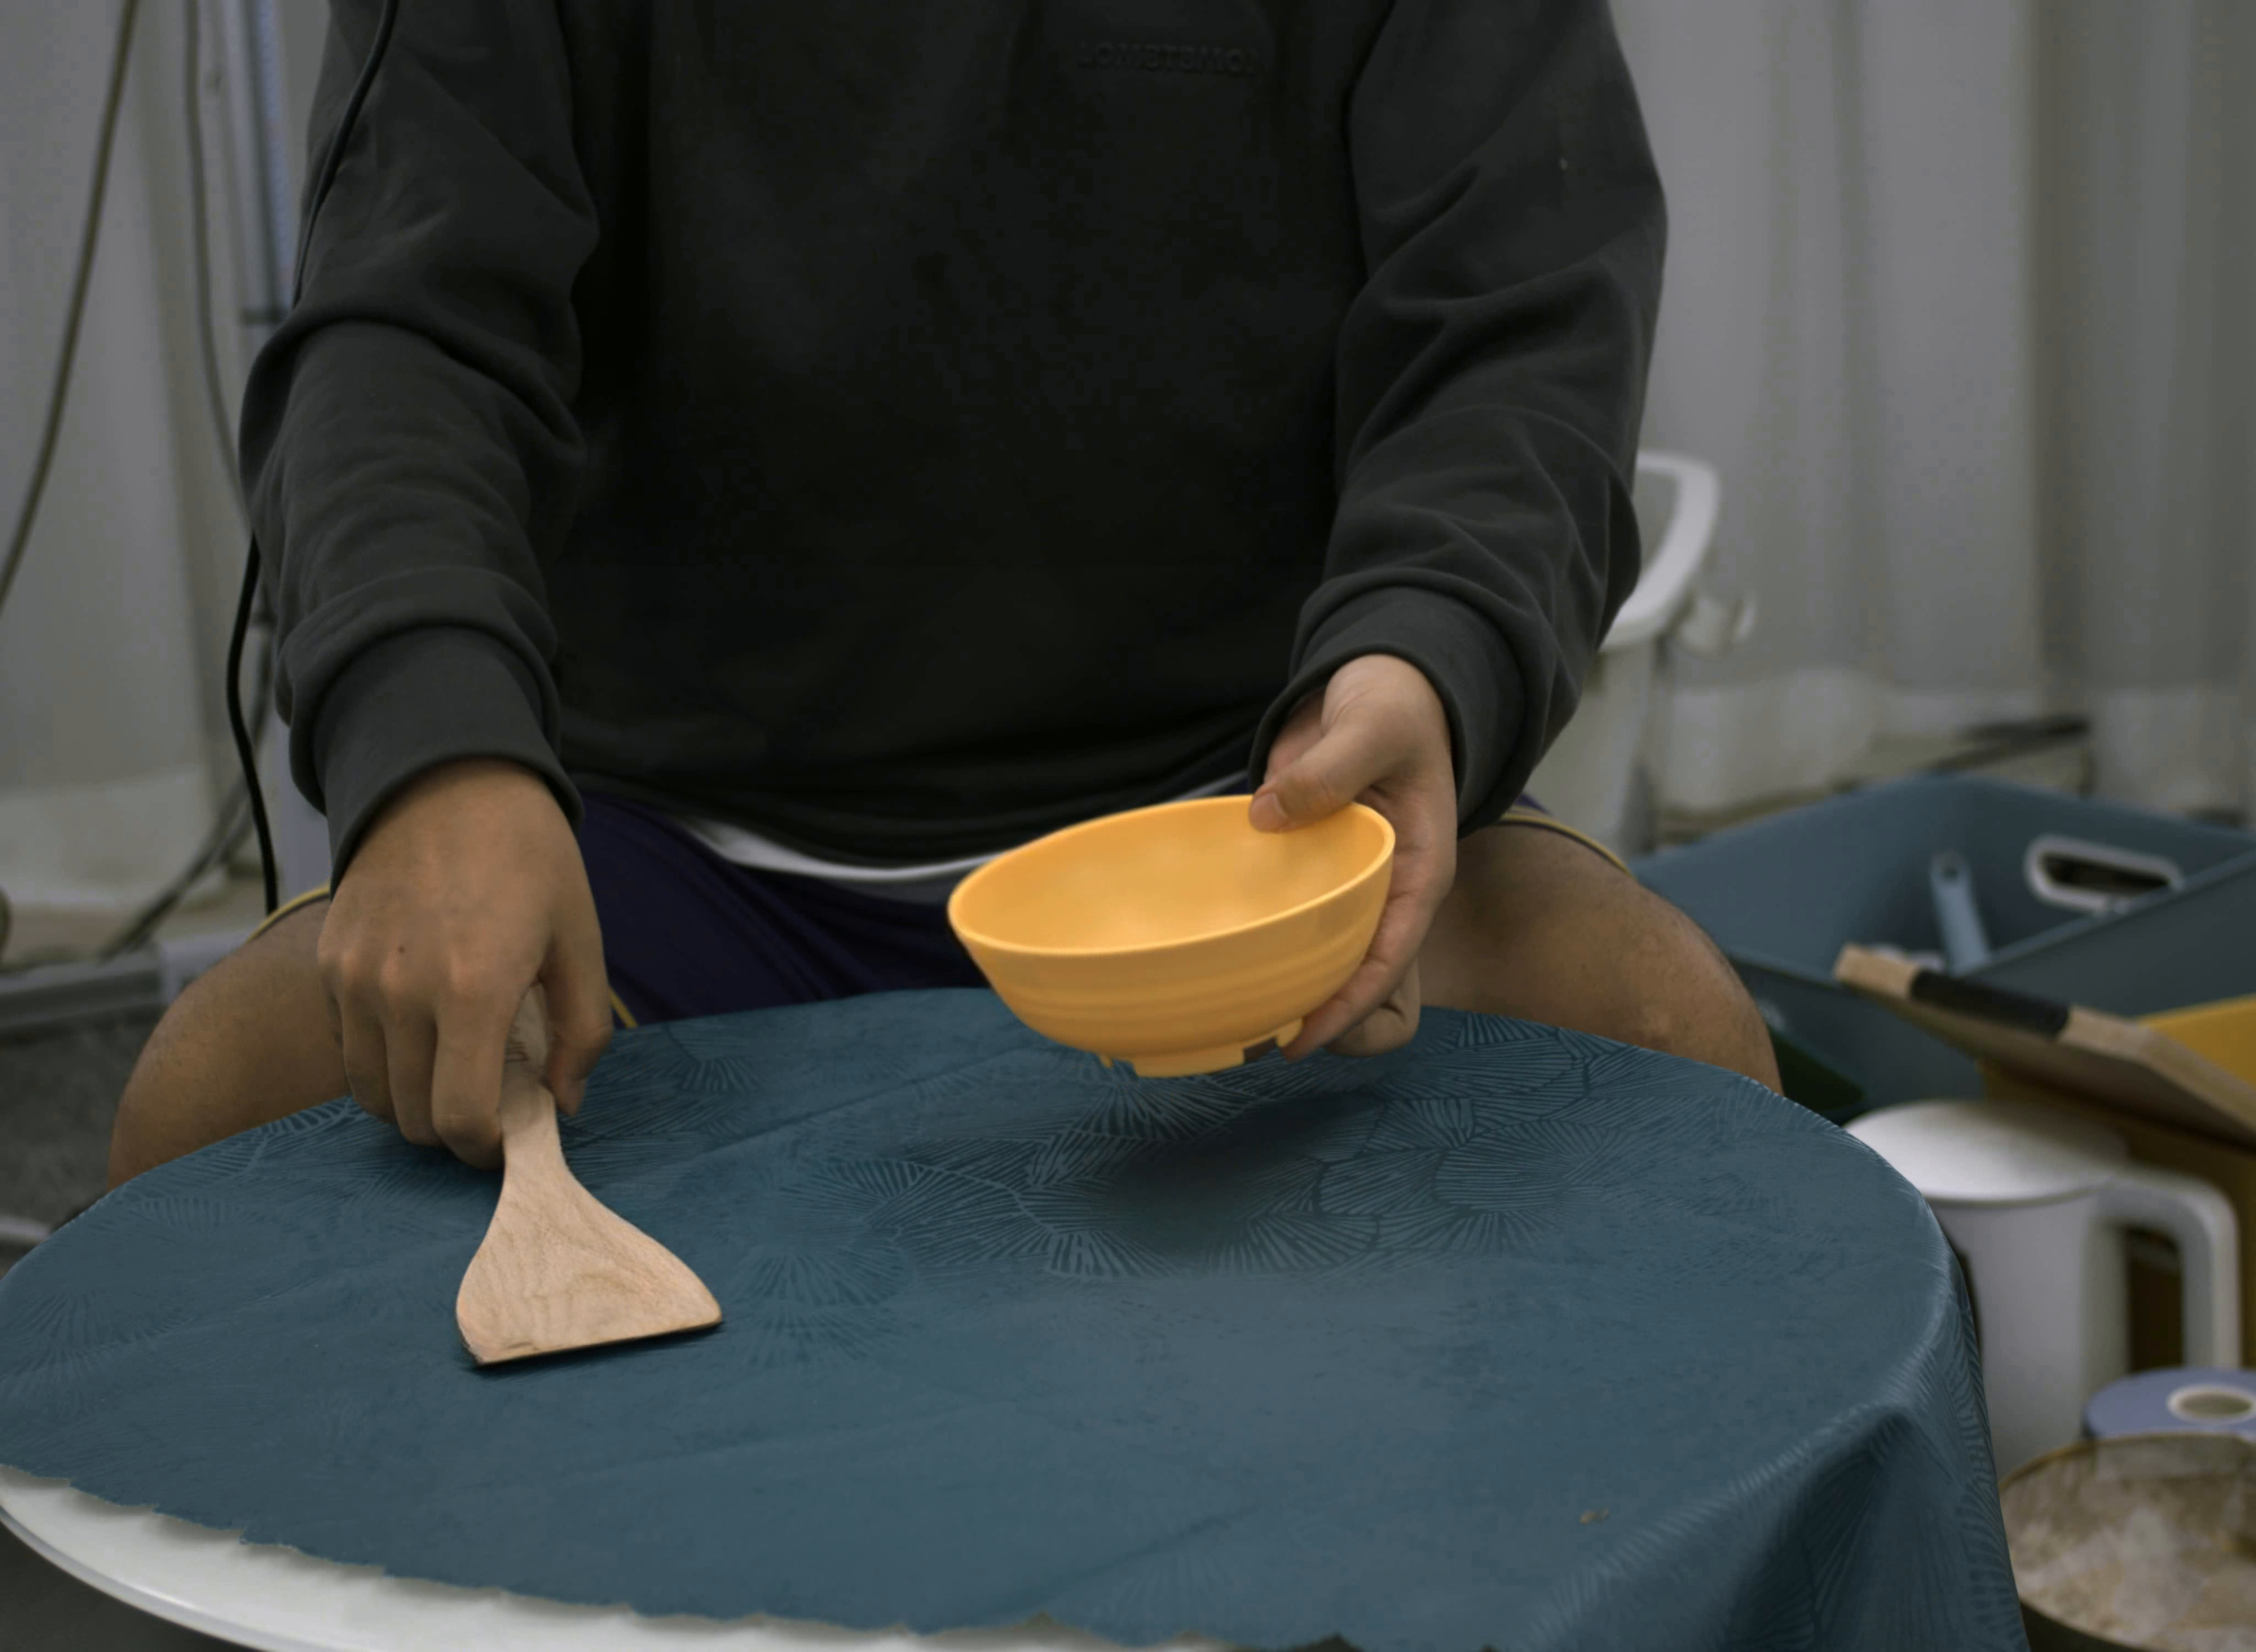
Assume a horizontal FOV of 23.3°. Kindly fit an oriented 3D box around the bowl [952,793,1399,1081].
[{"bbox_3d":[0.019,0.042,1.742,0.145,0.060,0.146,-9,18,3],"label":"bowl"}]

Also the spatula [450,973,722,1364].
[{"bbox_3d":[-0.186,0.104,1.739,0.079,0.016,0.331,-5,20,-10],"label":"spatula"}]
